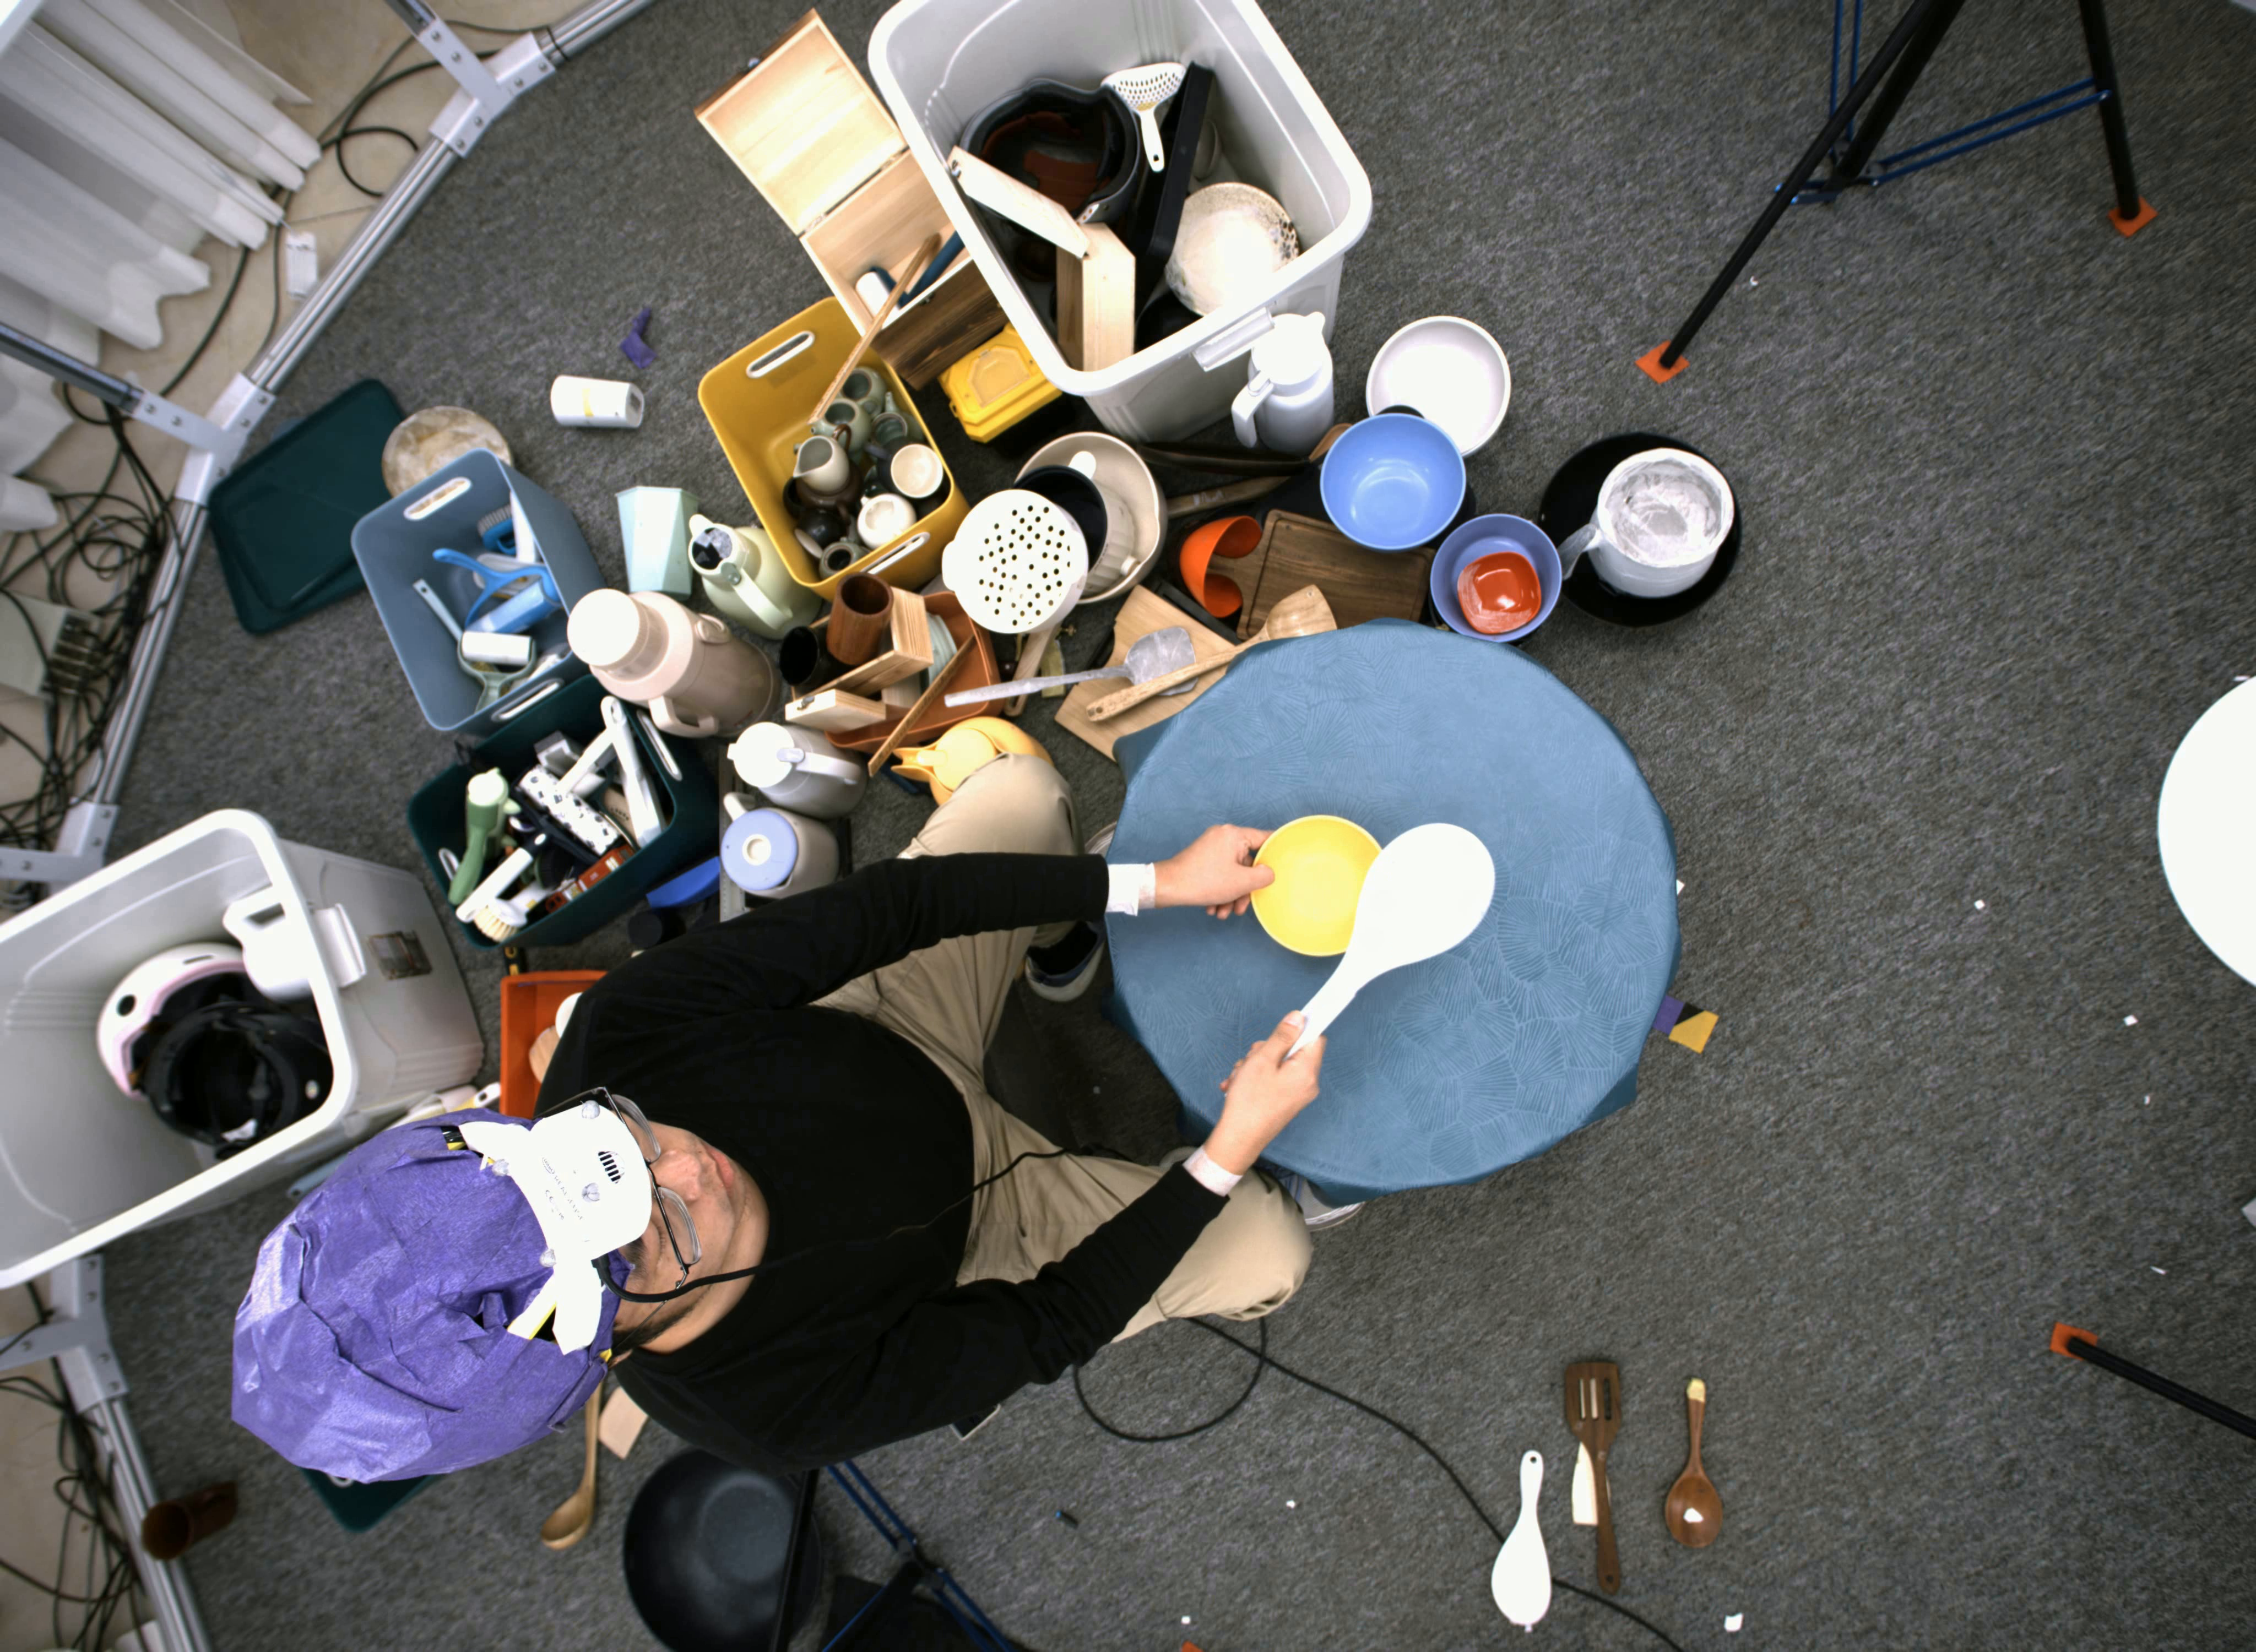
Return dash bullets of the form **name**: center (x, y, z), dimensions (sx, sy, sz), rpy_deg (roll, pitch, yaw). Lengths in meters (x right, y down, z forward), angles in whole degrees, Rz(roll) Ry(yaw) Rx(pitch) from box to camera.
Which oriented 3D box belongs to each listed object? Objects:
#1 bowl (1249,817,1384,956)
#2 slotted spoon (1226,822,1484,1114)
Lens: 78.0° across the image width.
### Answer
- **bowl**: center (0.200, 0.065, 1.445), dimensions (0.146, 0.060, 0.144), rpy_deg (-1, 84, 9)
- **slotted spoon**: center (0.214, 0.142, 1.335), dimensions (0.351, 0.046, 0.134), rpy_deg (-47, 40, 6)
